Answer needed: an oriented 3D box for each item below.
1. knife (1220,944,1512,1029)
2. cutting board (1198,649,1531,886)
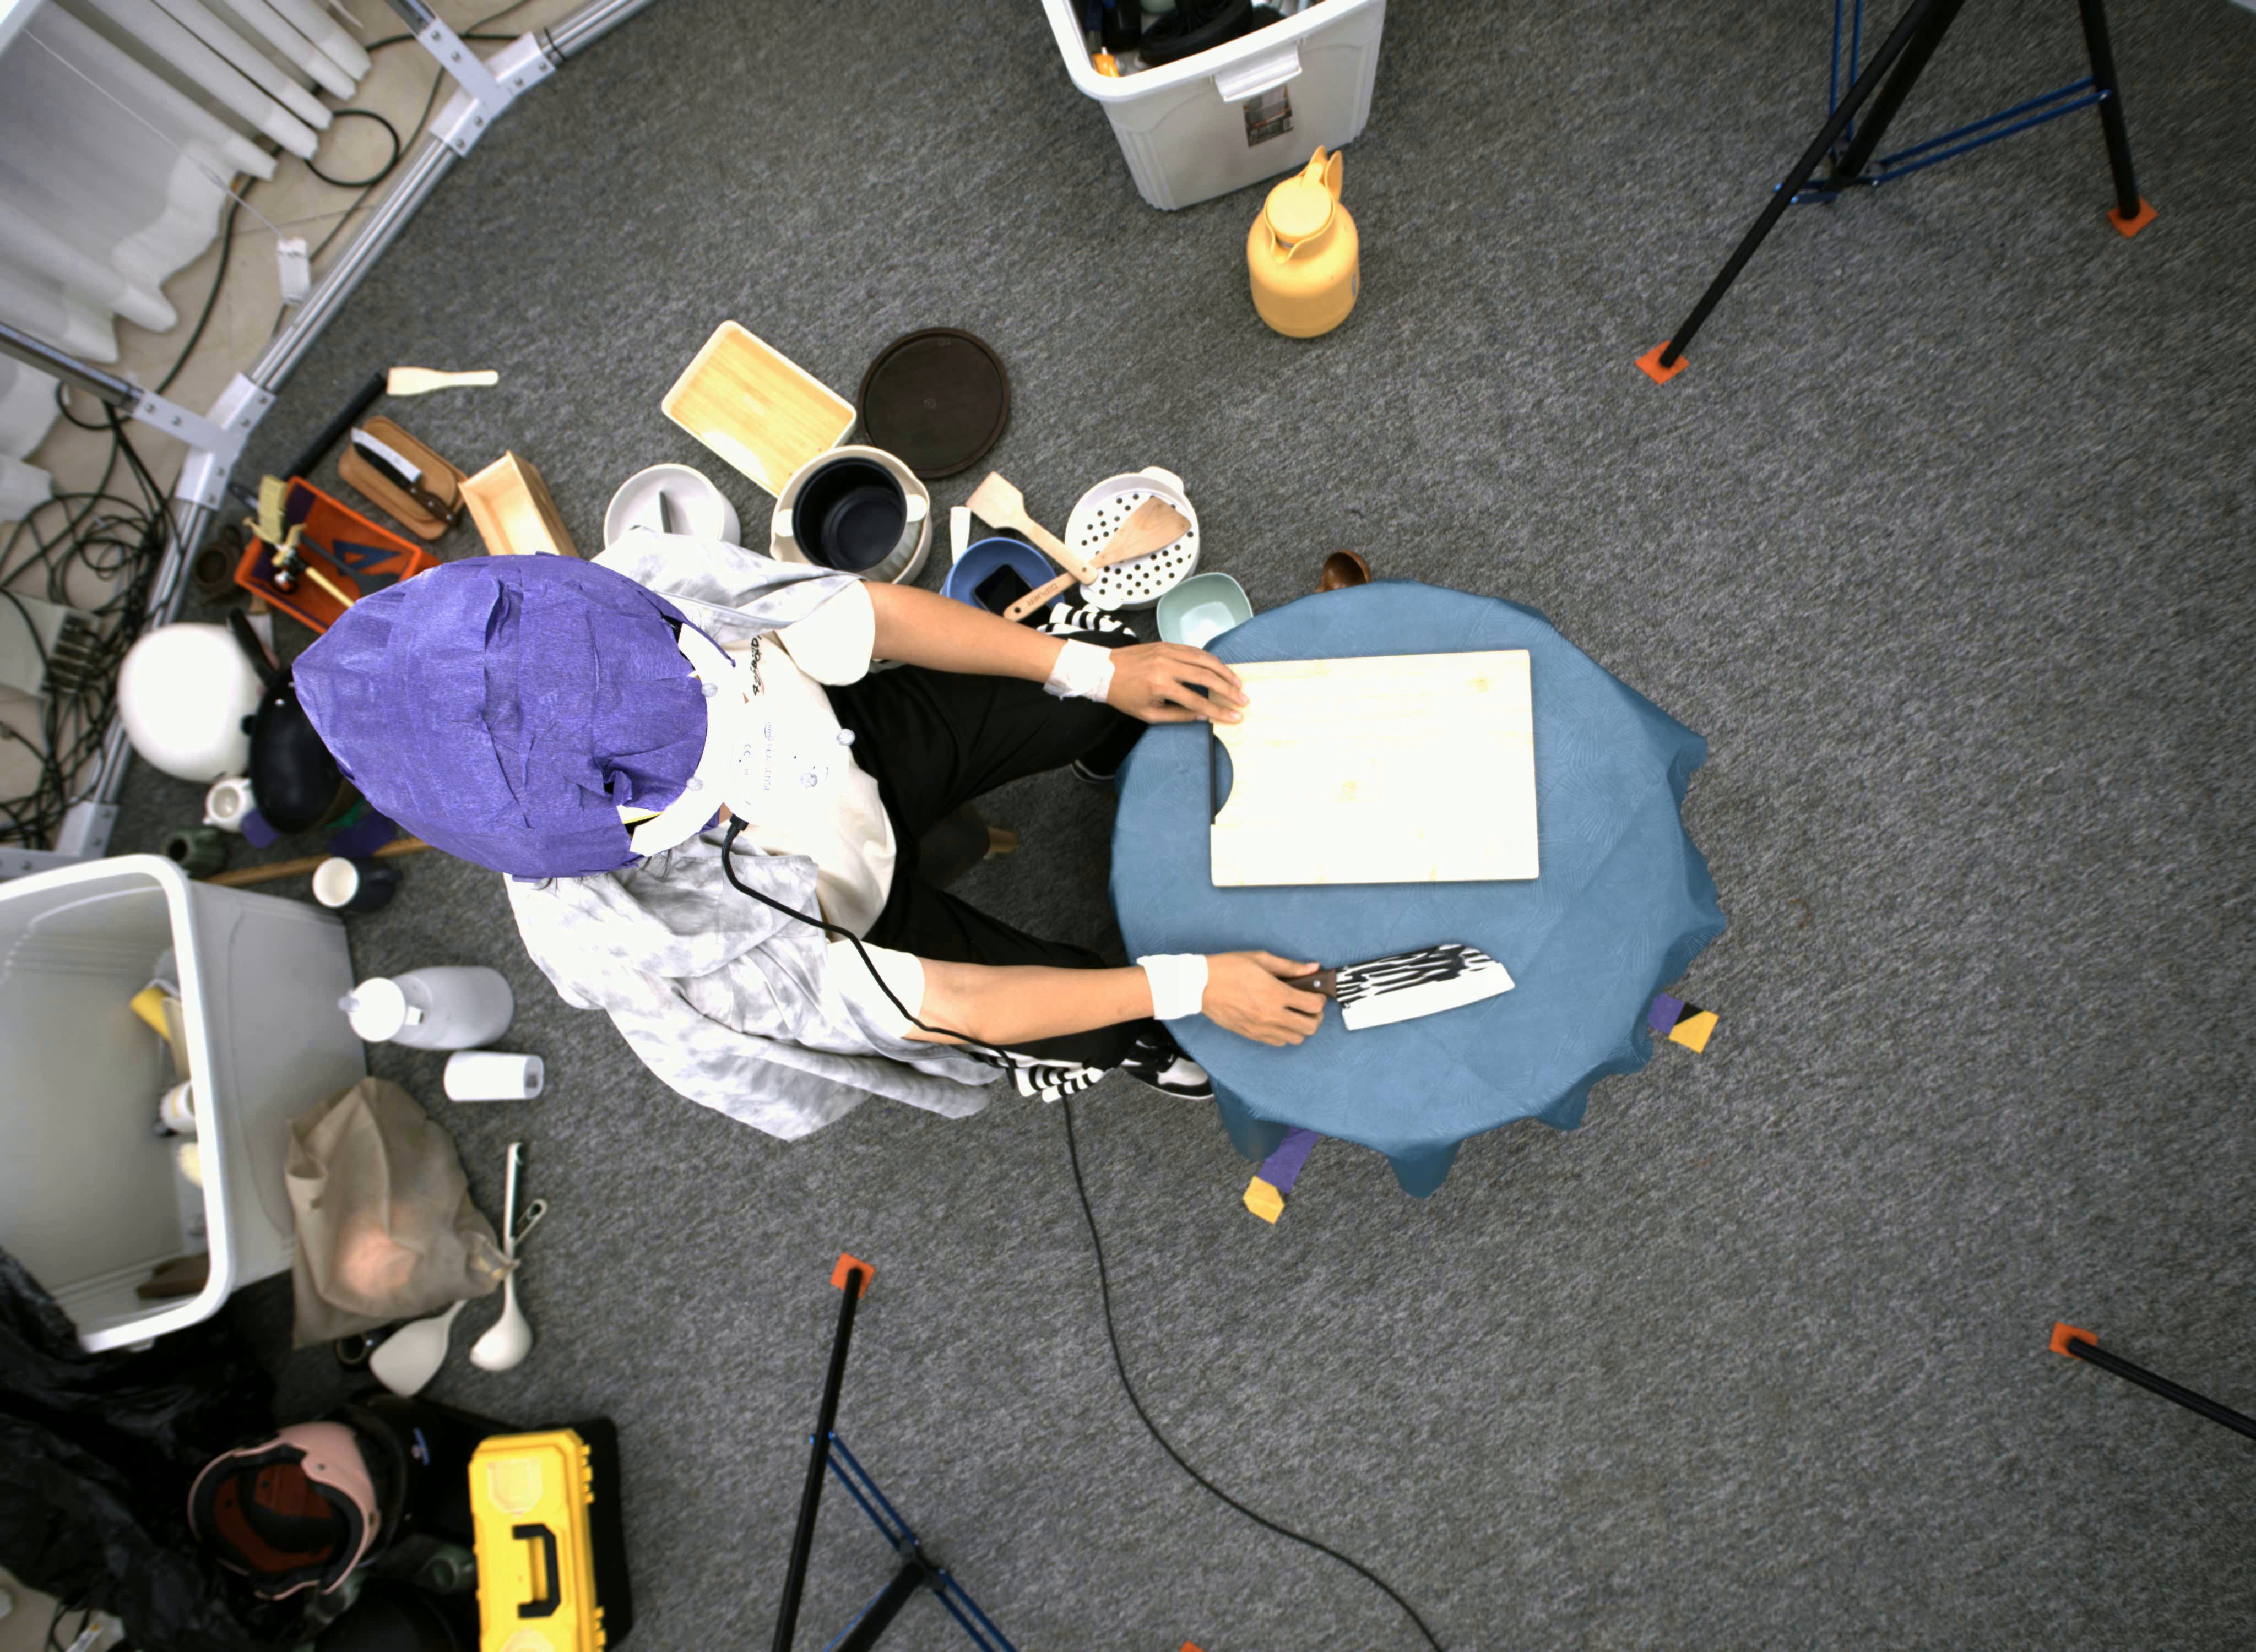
[{"bbox_3d":[0.247,0.173,1.445,0.301,0.024,0.068,-12,86,10],"label":"knife"},{"bbox_3d":[0.250,-0.062,1.461,0.350,0.023,0.249,-3,86,11],"label":"cutting board"}]
